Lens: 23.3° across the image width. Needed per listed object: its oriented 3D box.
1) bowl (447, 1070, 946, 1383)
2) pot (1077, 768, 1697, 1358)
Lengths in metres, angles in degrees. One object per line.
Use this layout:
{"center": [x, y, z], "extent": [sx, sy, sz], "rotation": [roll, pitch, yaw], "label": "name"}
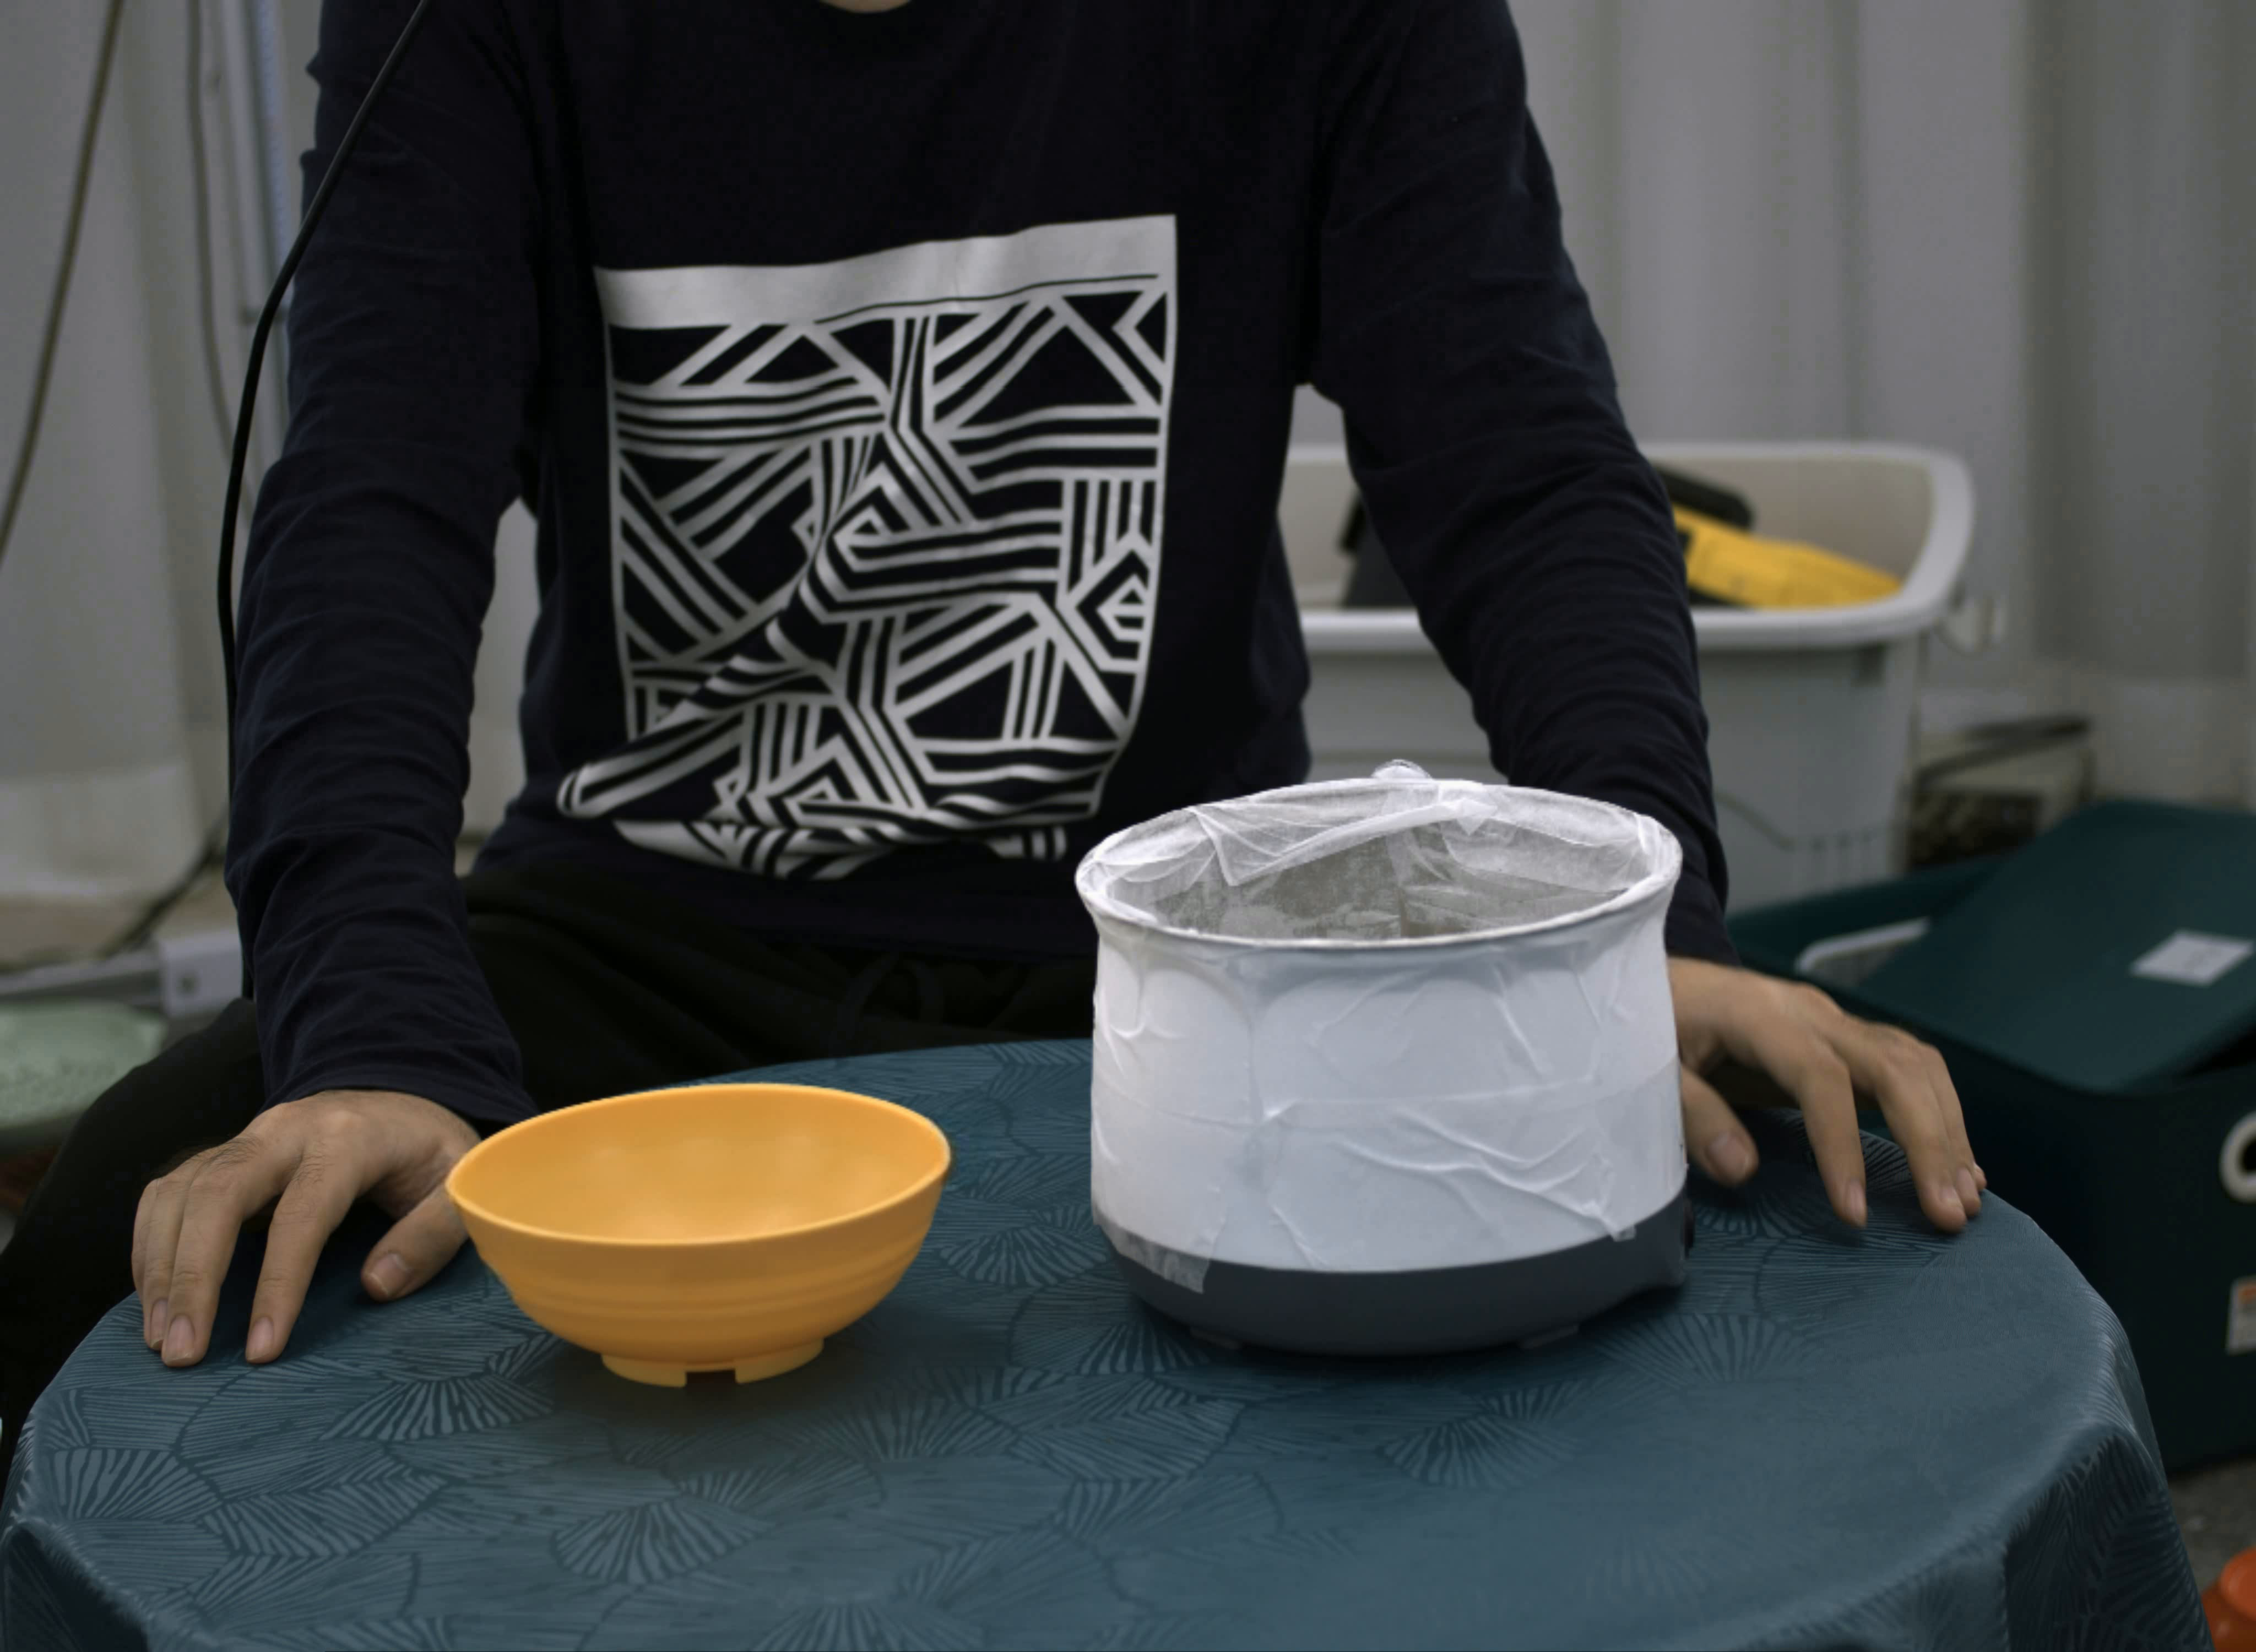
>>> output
{"center": [-0.124, 0.122, 1.590], "extent": [0.145, 0.060, 0.146], "rotation": [-2, 16, 0], "label": "bowl"}
{"center": [0.079, 0.066, 1.631], "extent": [0.178, 0.136, 0.235], "rotation": [-1, 13, 6], "label": "pot"}
